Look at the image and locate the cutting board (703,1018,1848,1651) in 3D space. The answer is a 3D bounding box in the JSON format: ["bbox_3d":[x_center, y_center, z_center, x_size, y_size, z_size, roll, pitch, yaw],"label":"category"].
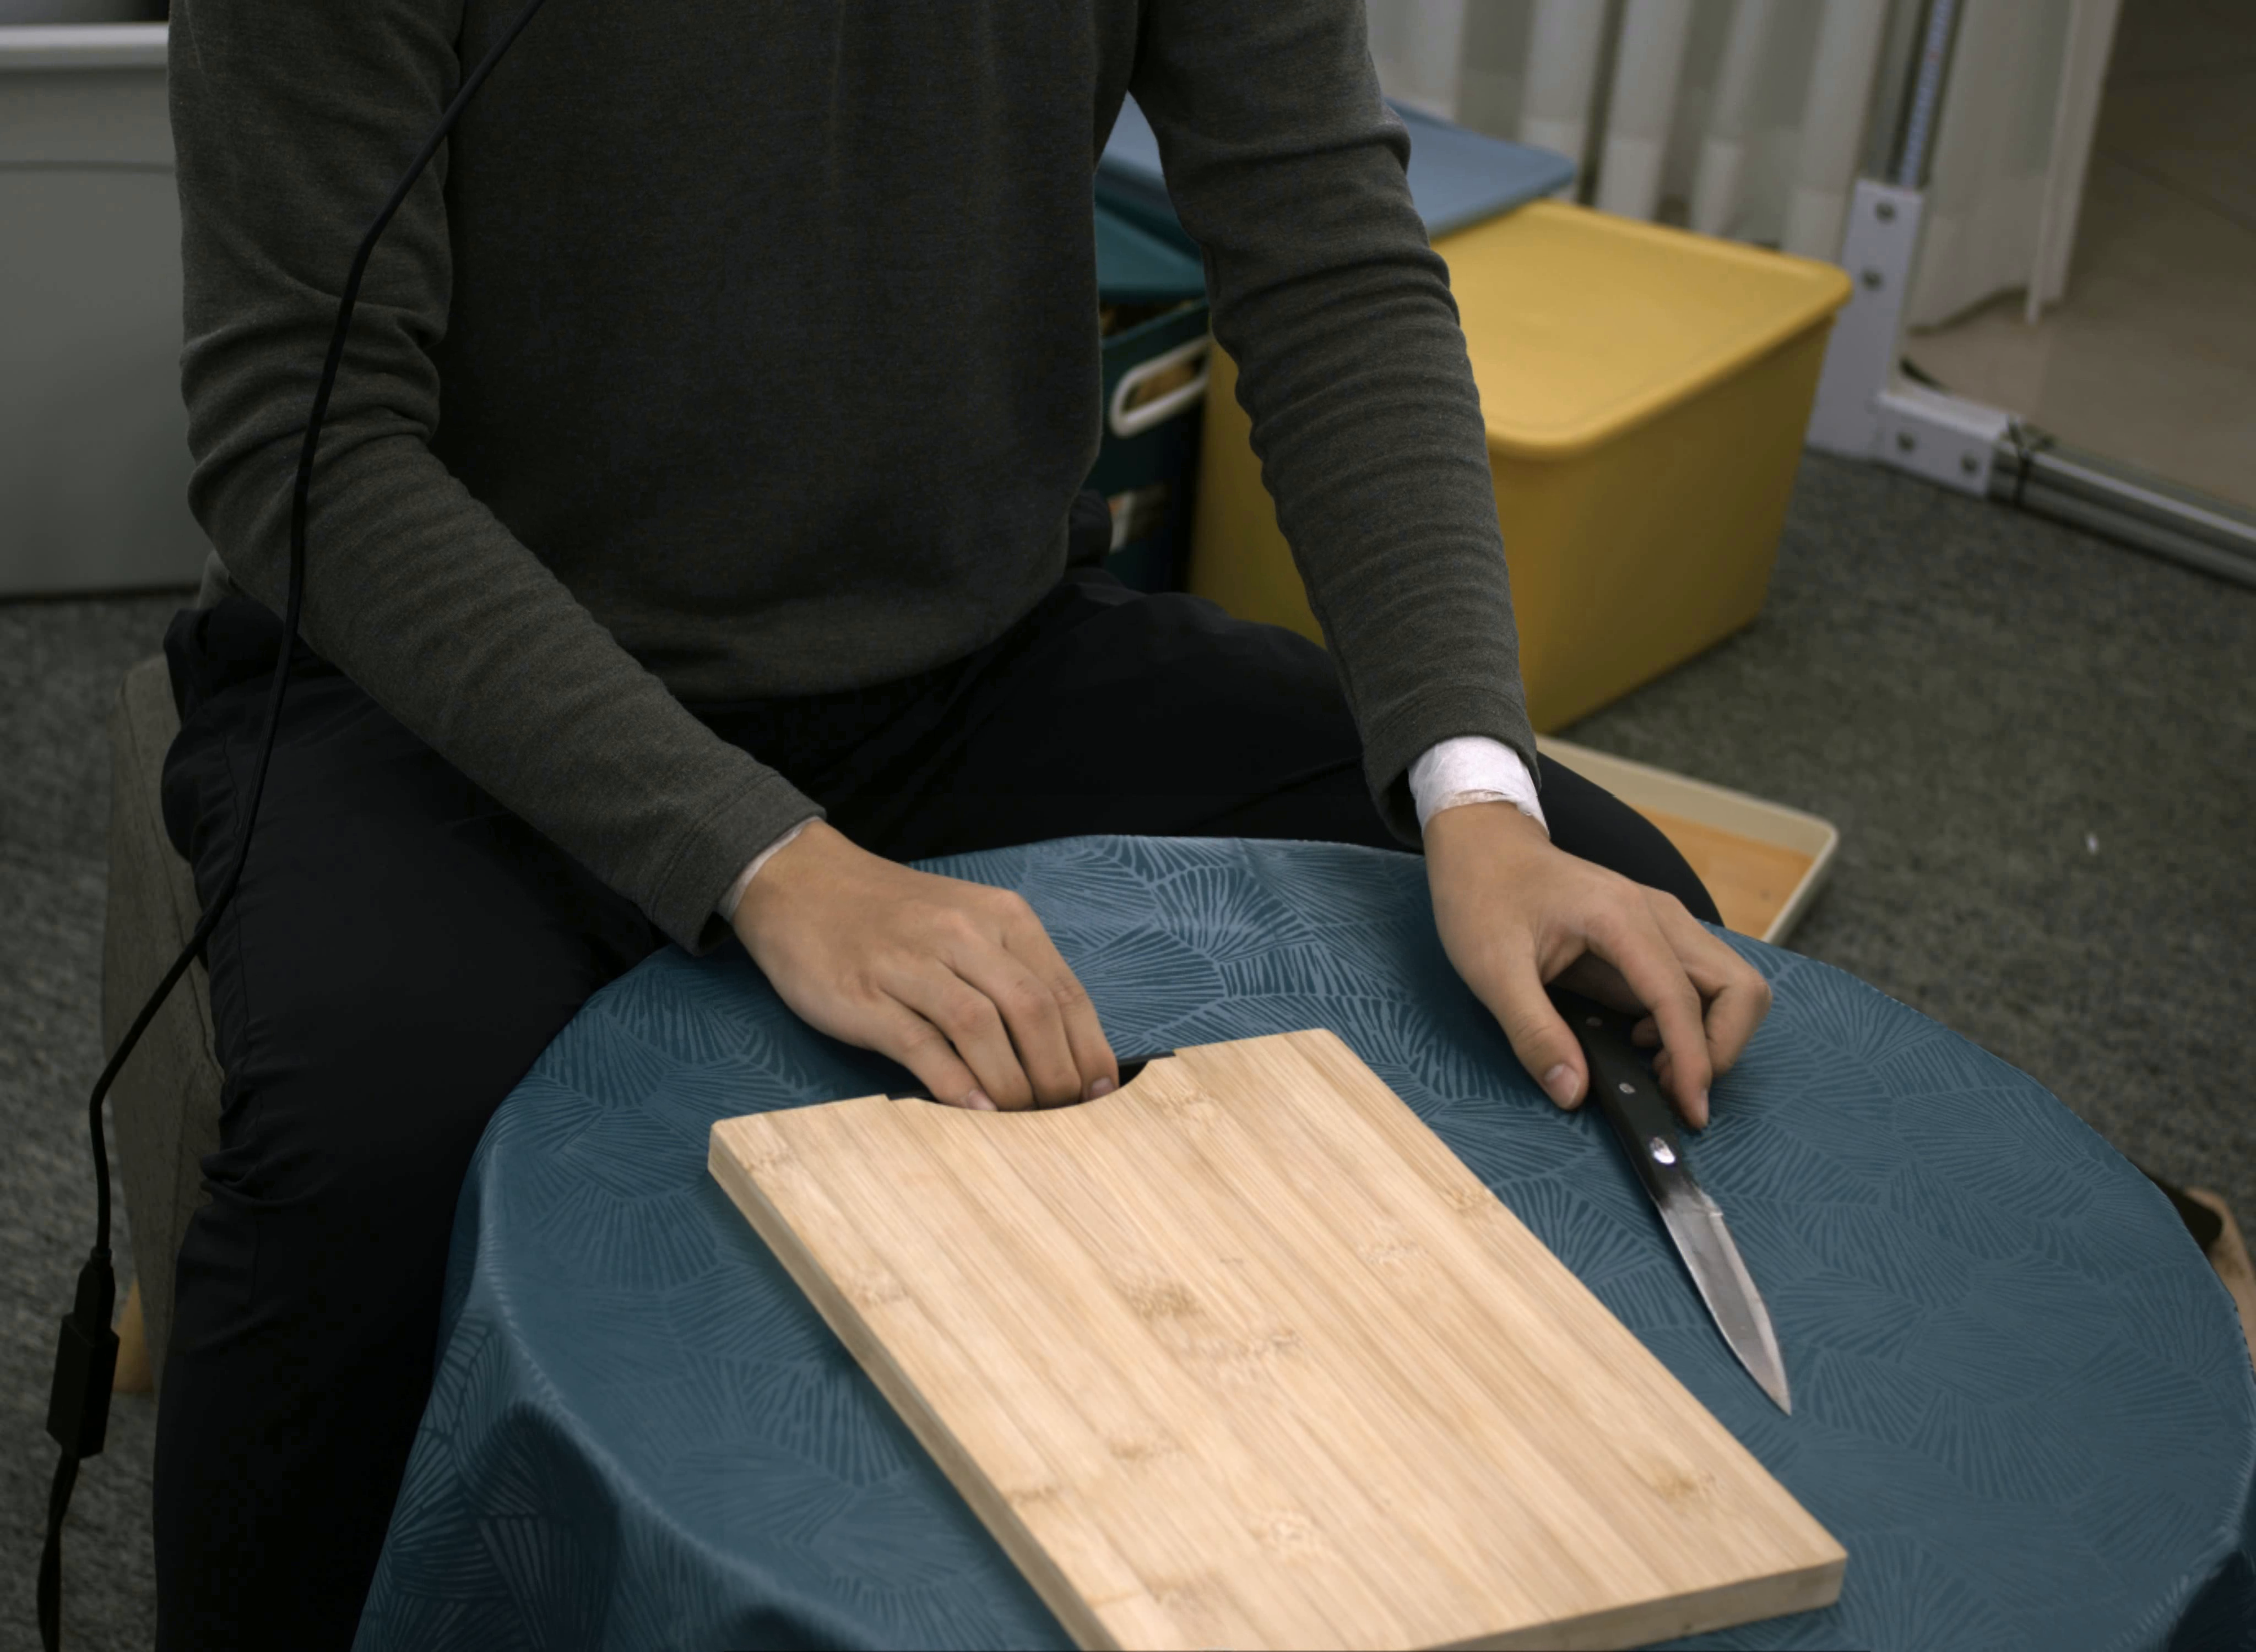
[{"bbox_3d":[0.038,0.167,1.711,0.249,0.023,0.352,-7,30,-27],"label":"cutting board"}]

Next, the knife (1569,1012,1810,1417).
[{"bbox_3d":[0.191,0.132,1.821,0.024,0.016,0.240,-2,30,-14],"label":"knife"}]
